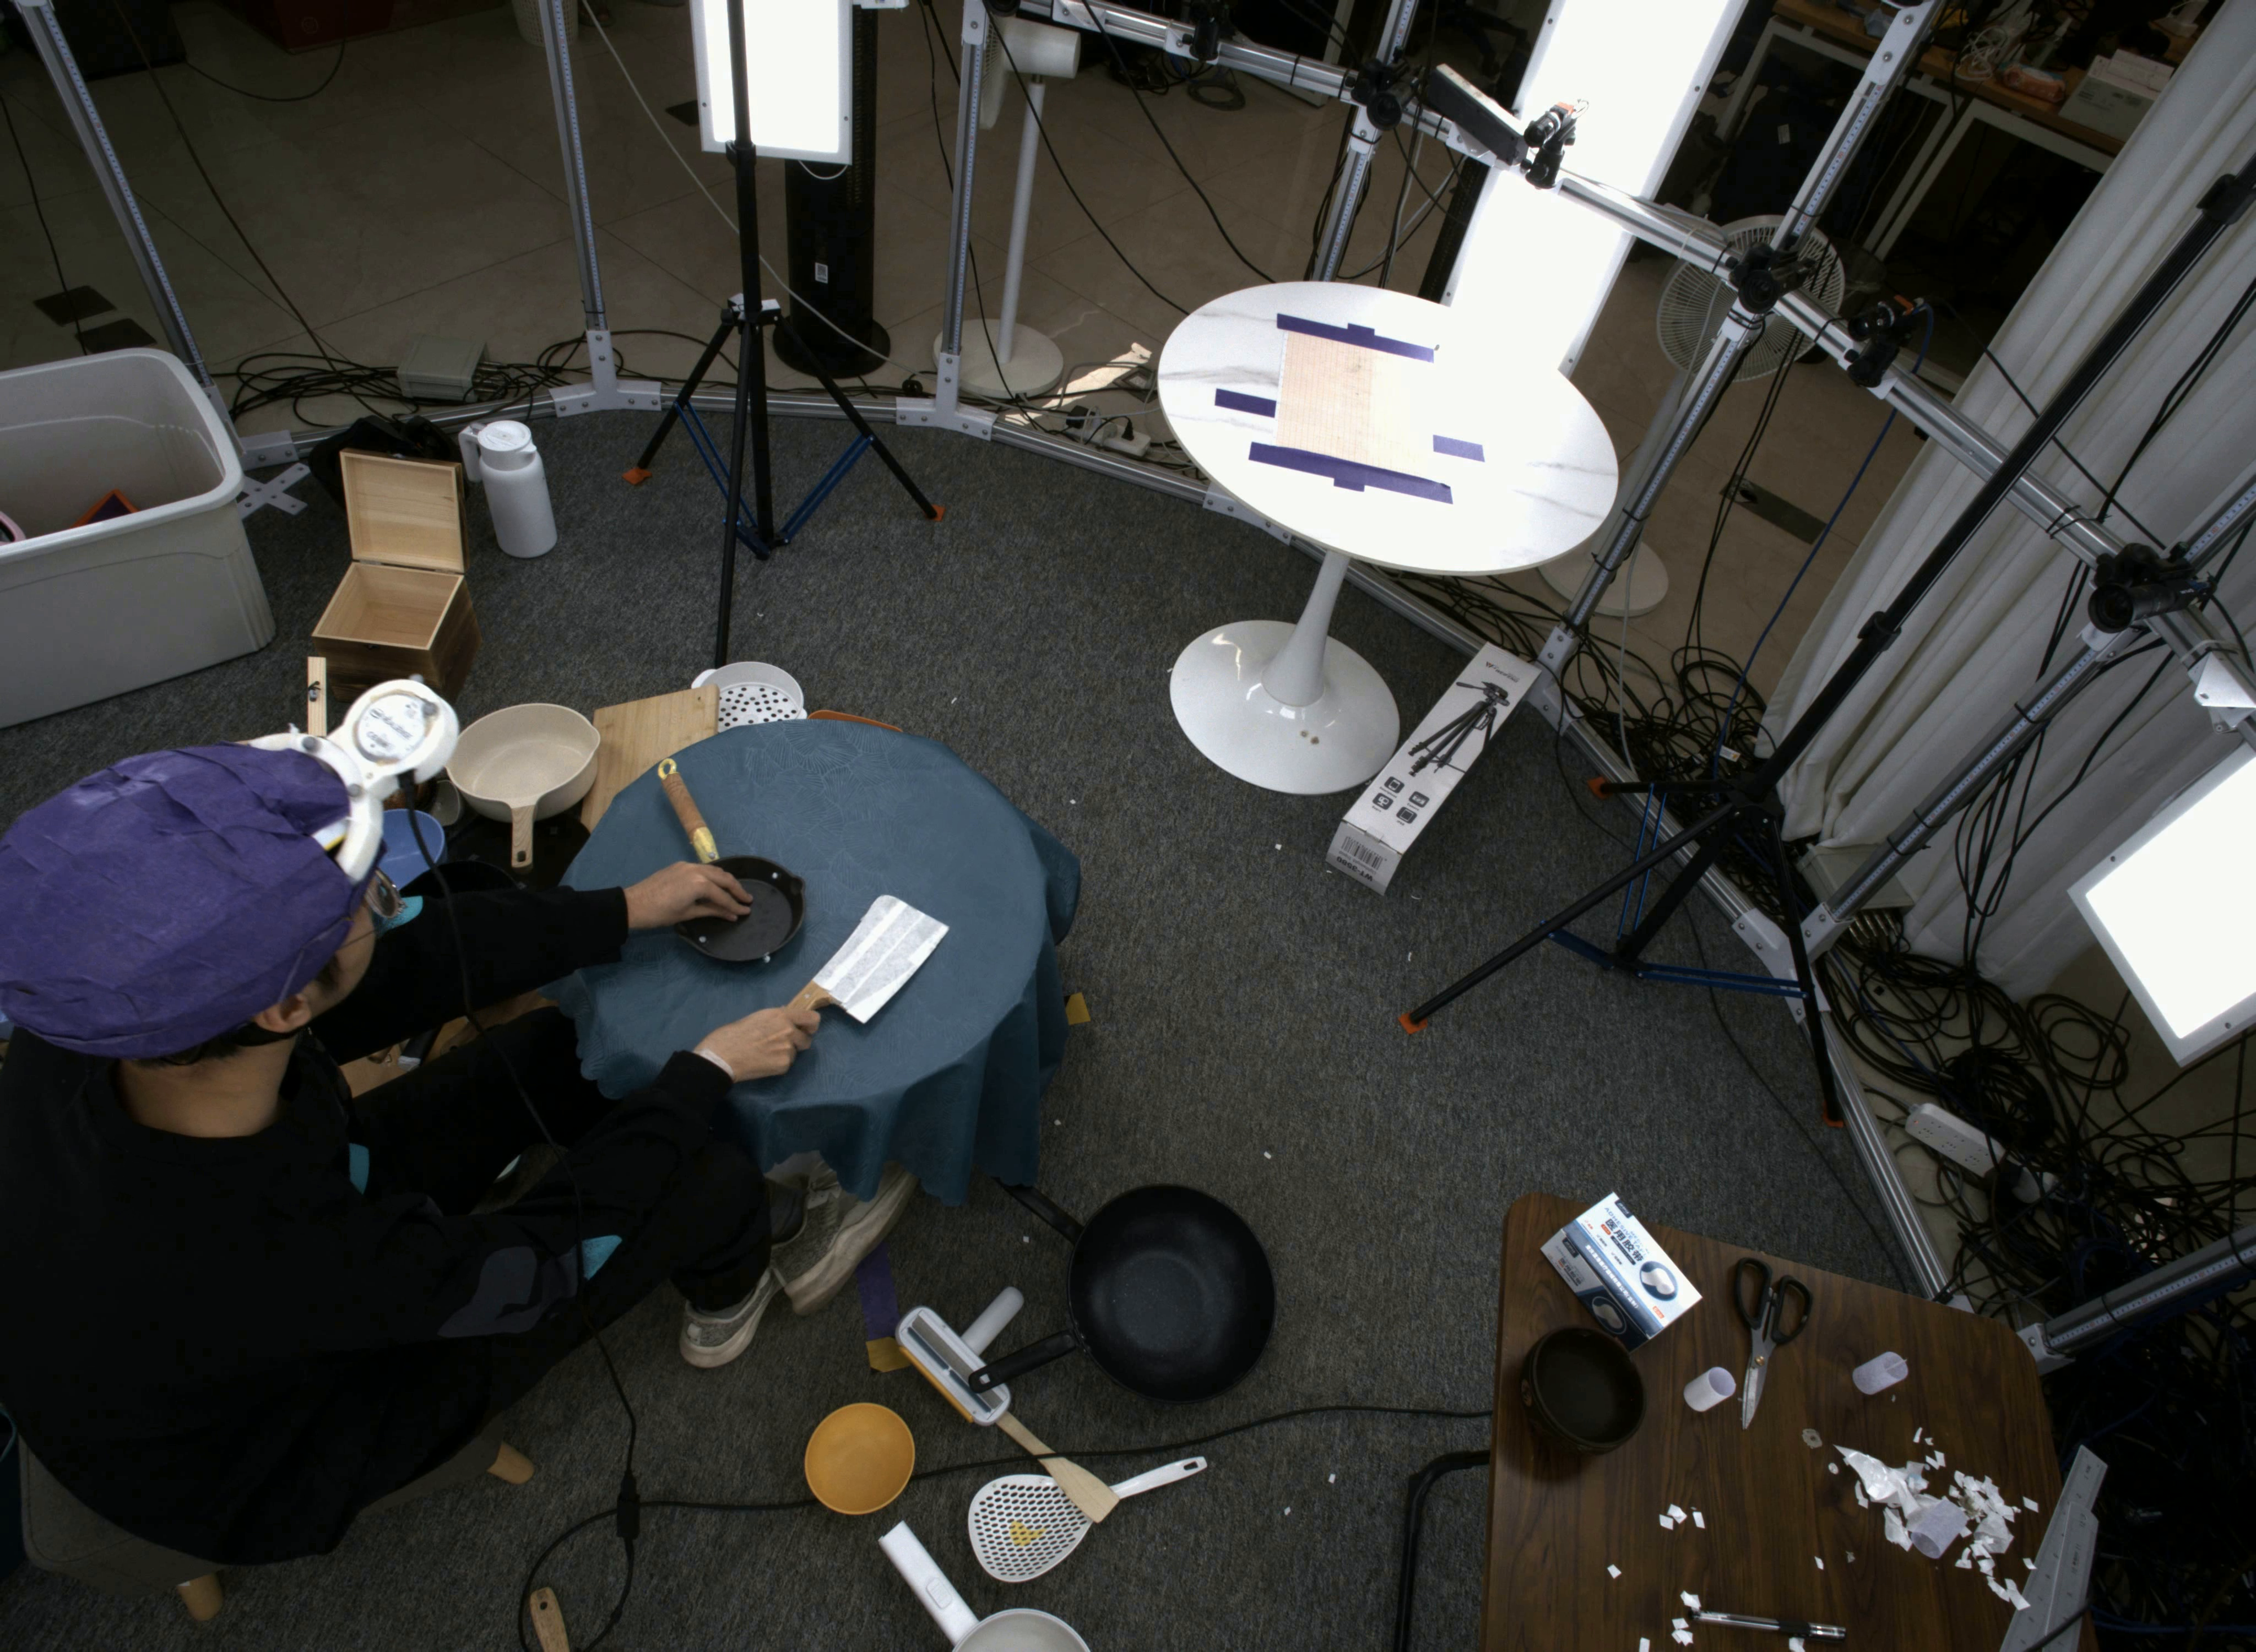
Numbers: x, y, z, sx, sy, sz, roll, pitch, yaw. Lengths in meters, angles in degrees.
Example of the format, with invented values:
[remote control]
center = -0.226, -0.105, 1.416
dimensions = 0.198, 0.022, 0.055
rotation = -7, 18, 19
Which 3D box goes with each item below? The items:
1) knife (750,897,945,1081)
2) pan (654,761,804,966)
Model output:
[knife]
center = -0.342, 0.190, 1.567
dimensions = 0.112, 0.022, 0.315
rotation = 34, 46, 8
[pan]
center = -0.523, 0.043, 1.623
dimensions = 0.170, 0.050, 0.316
rotation = -24, 64, -28
